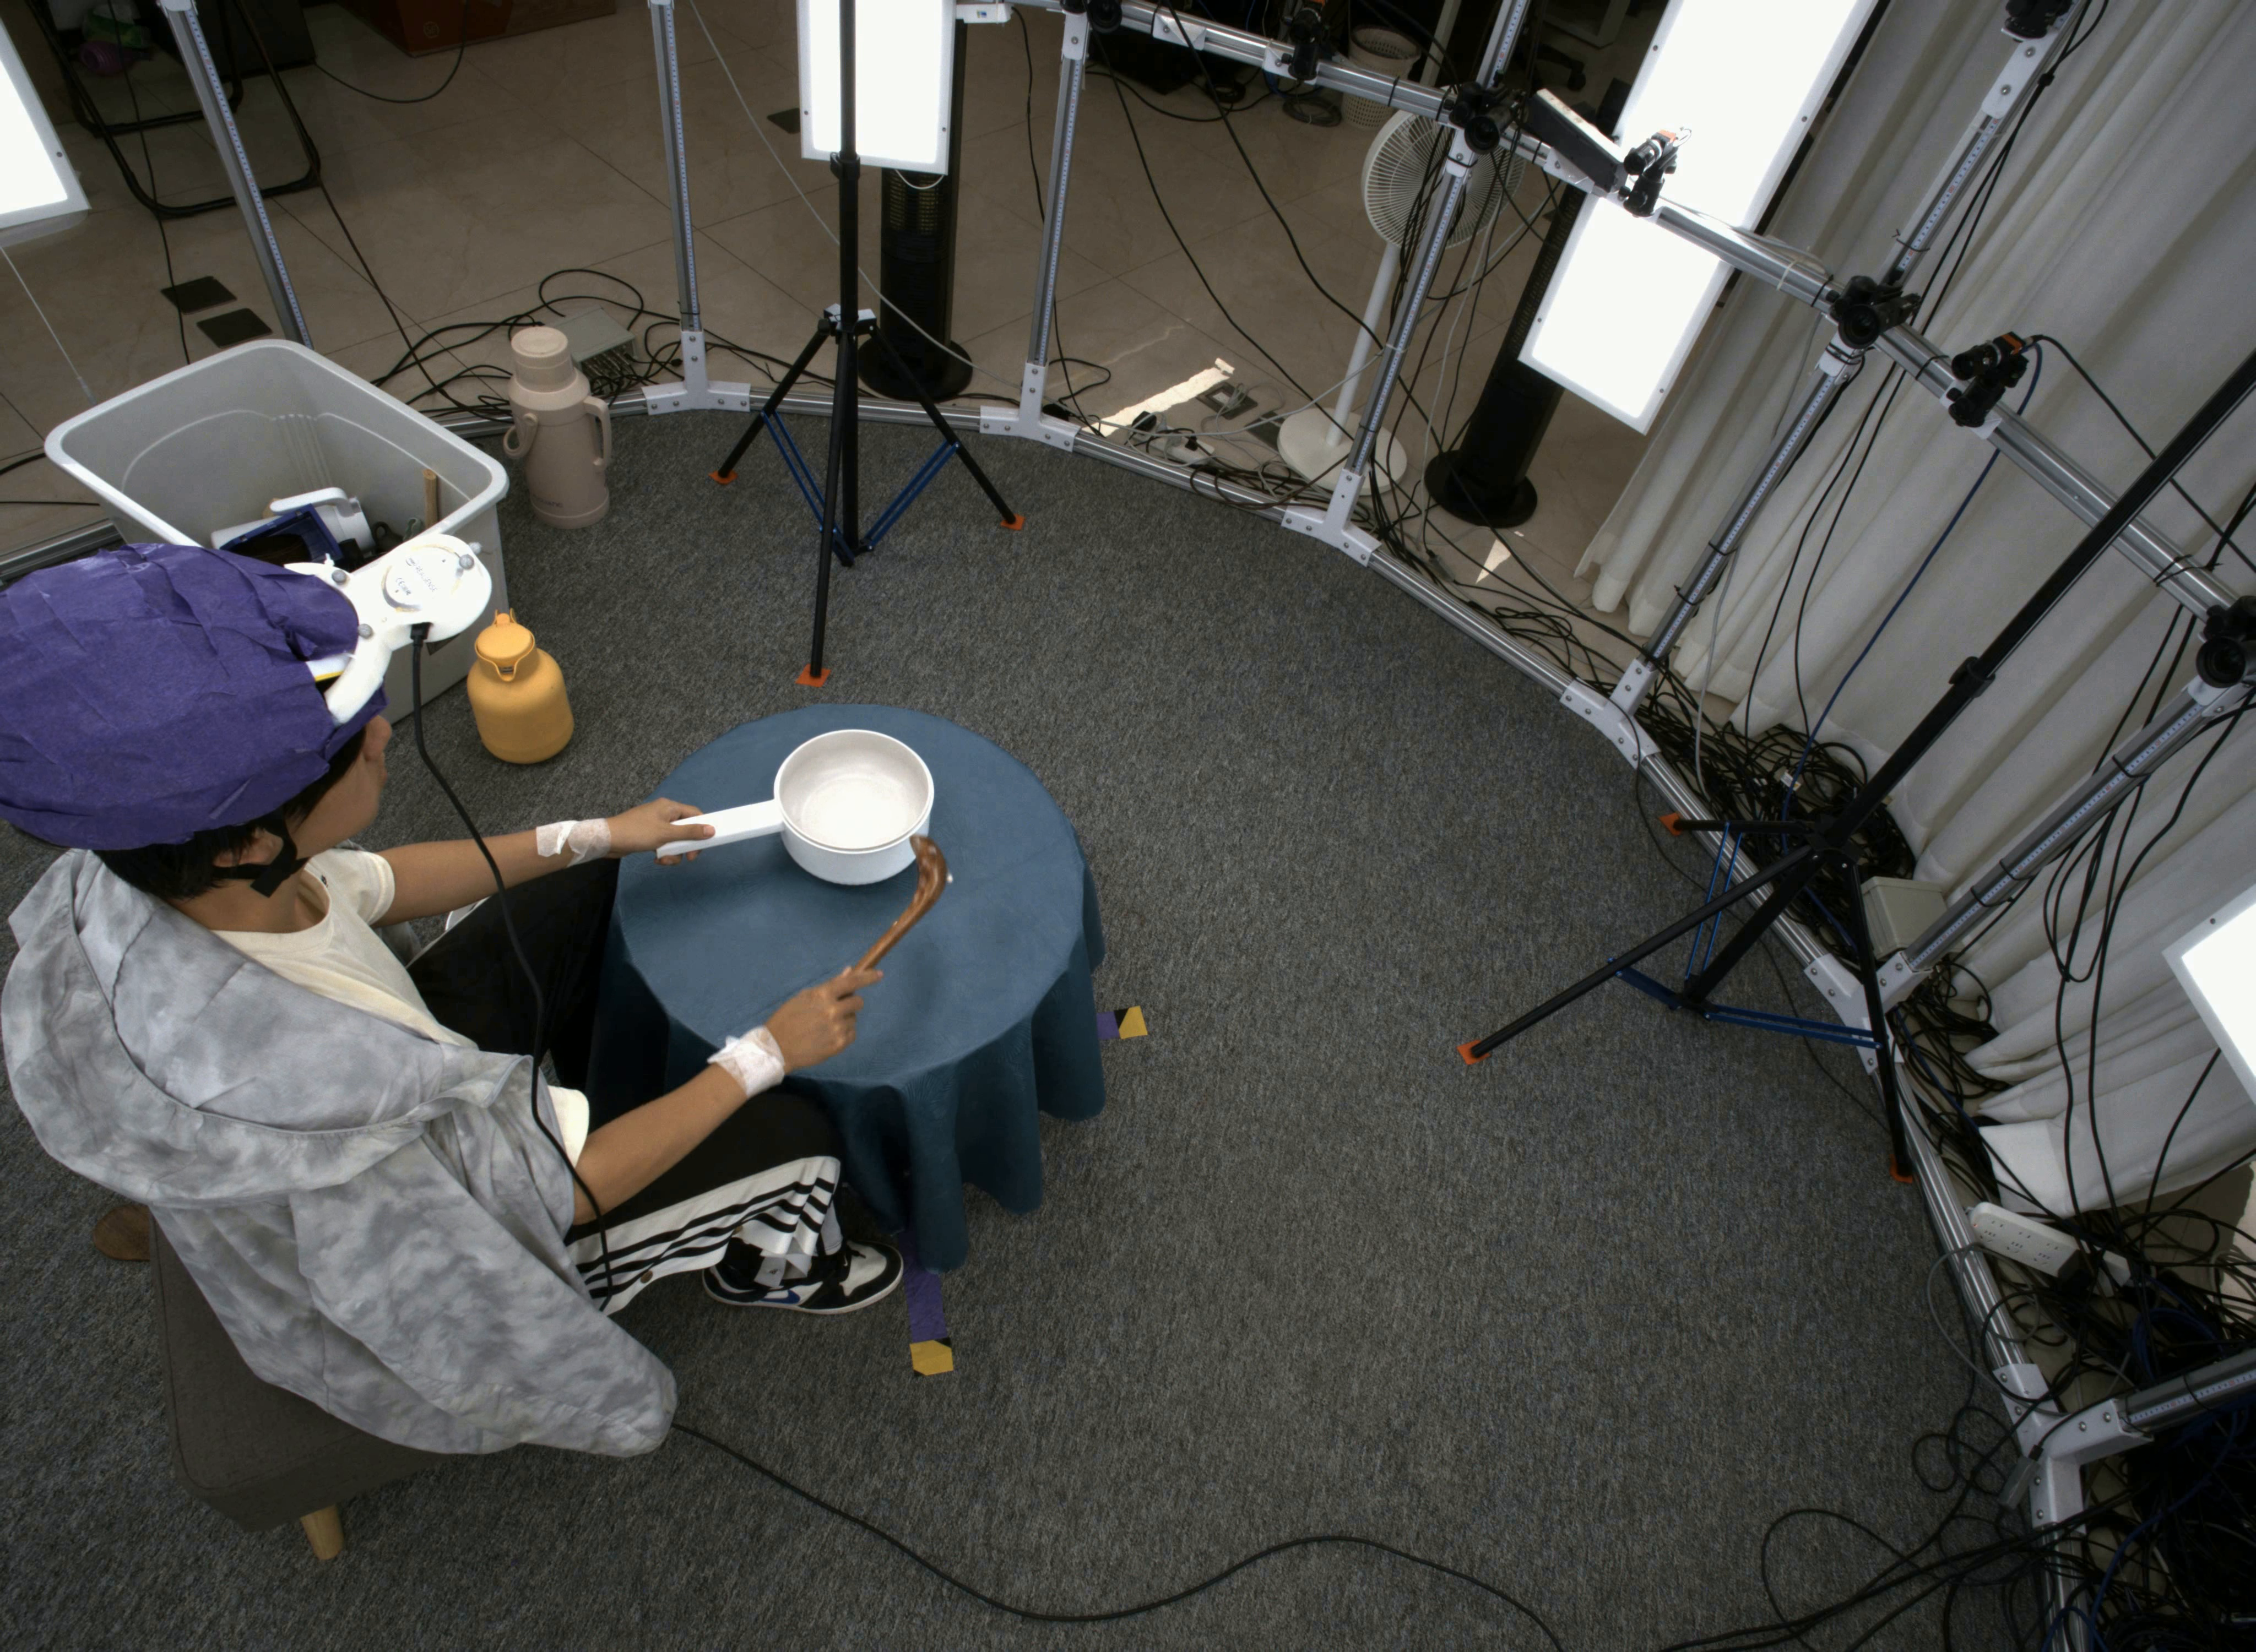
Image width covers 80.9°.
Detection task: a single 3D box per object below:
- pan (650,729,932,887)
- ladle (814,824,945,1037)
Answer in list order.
[{"bbox_3d":[-0.426,-0.001,1.664,0.356,0.104,0.196,-15,59,-22],"label":"pan"},{"bbox_3d":[-0.299,0.113,1.507,0.074,0.085,0.273,21,62,29],"label":"ladle"}]
